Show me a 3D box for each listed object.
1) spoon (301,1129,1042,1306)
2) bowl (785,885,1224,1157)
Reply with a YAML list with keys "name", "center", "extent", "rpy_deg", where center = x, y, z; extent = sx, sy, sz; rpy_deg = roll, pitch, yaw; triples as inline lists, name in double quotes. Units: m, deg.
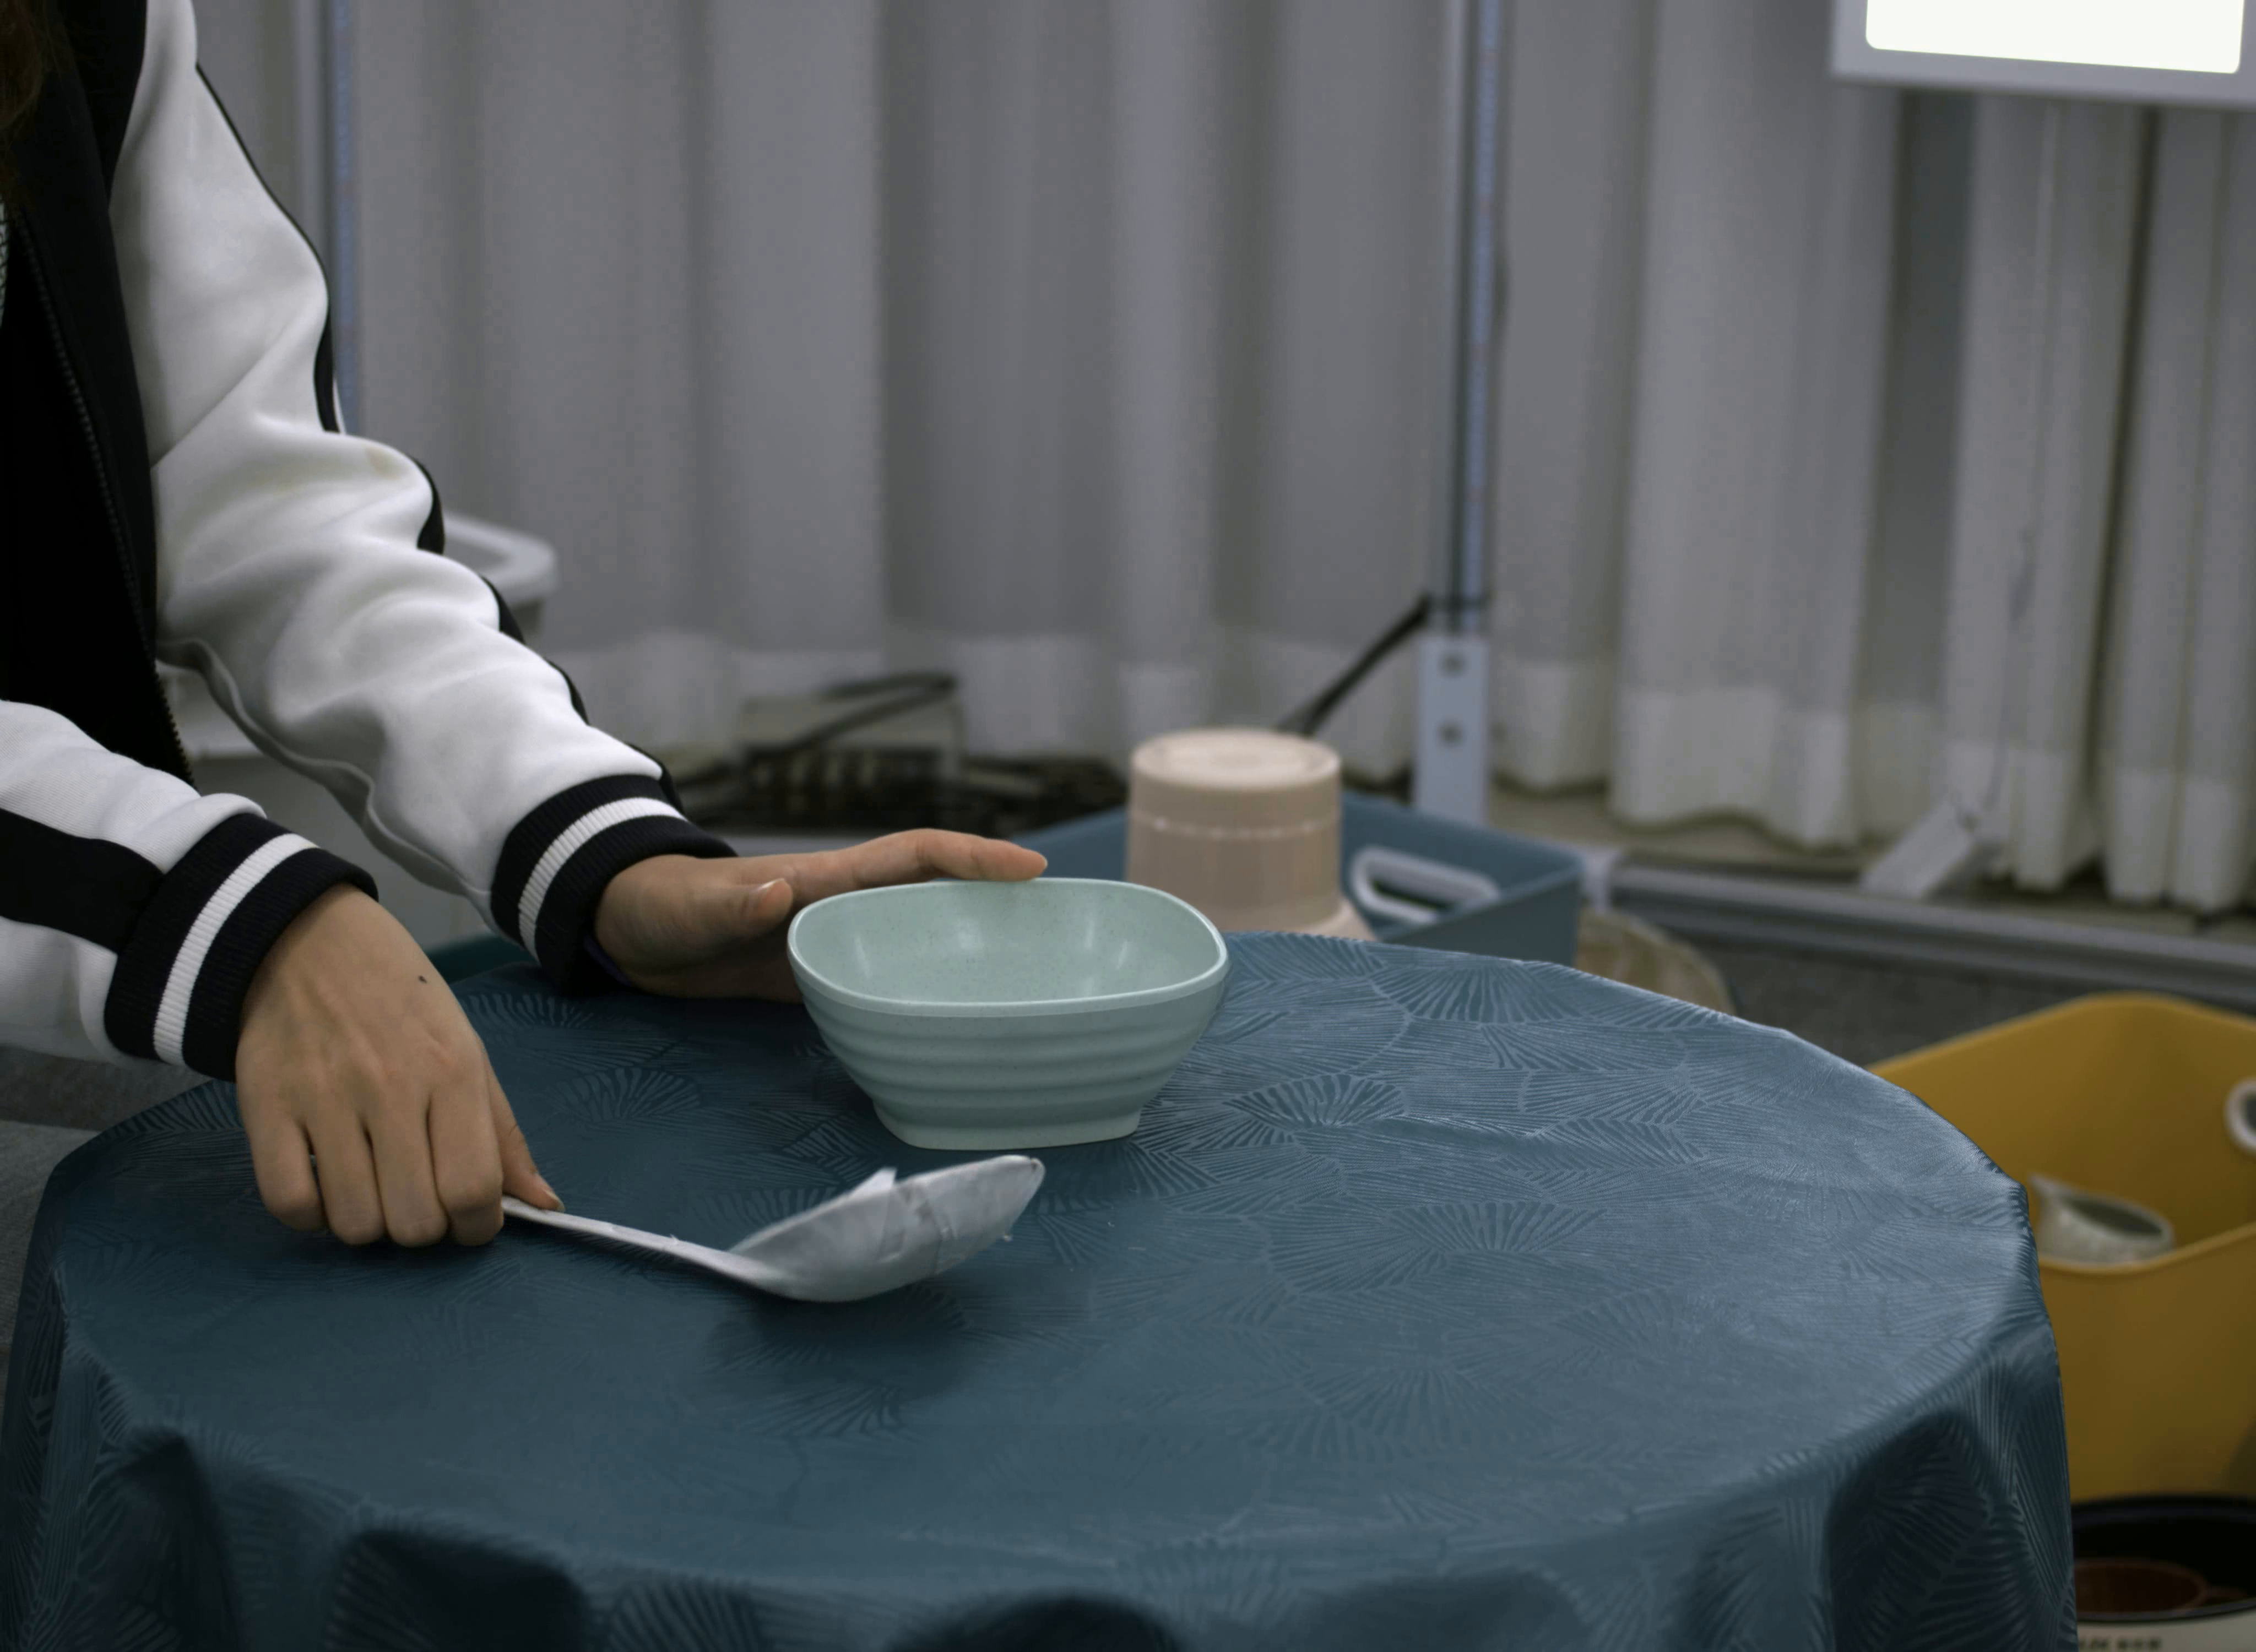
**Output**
- name: "spoon"
  center: [-0.143, 0.096, 1.568]
  extent: [0.274, 0.059, 0.101]
  rpy_deg: [13, 5, 37]
- name: "bowl"
  center: [-0.040, 0.065, 1.690]
  extent: [0.151, 0.059, 0.150]
  rpy_deg: [1, 16, 0]
